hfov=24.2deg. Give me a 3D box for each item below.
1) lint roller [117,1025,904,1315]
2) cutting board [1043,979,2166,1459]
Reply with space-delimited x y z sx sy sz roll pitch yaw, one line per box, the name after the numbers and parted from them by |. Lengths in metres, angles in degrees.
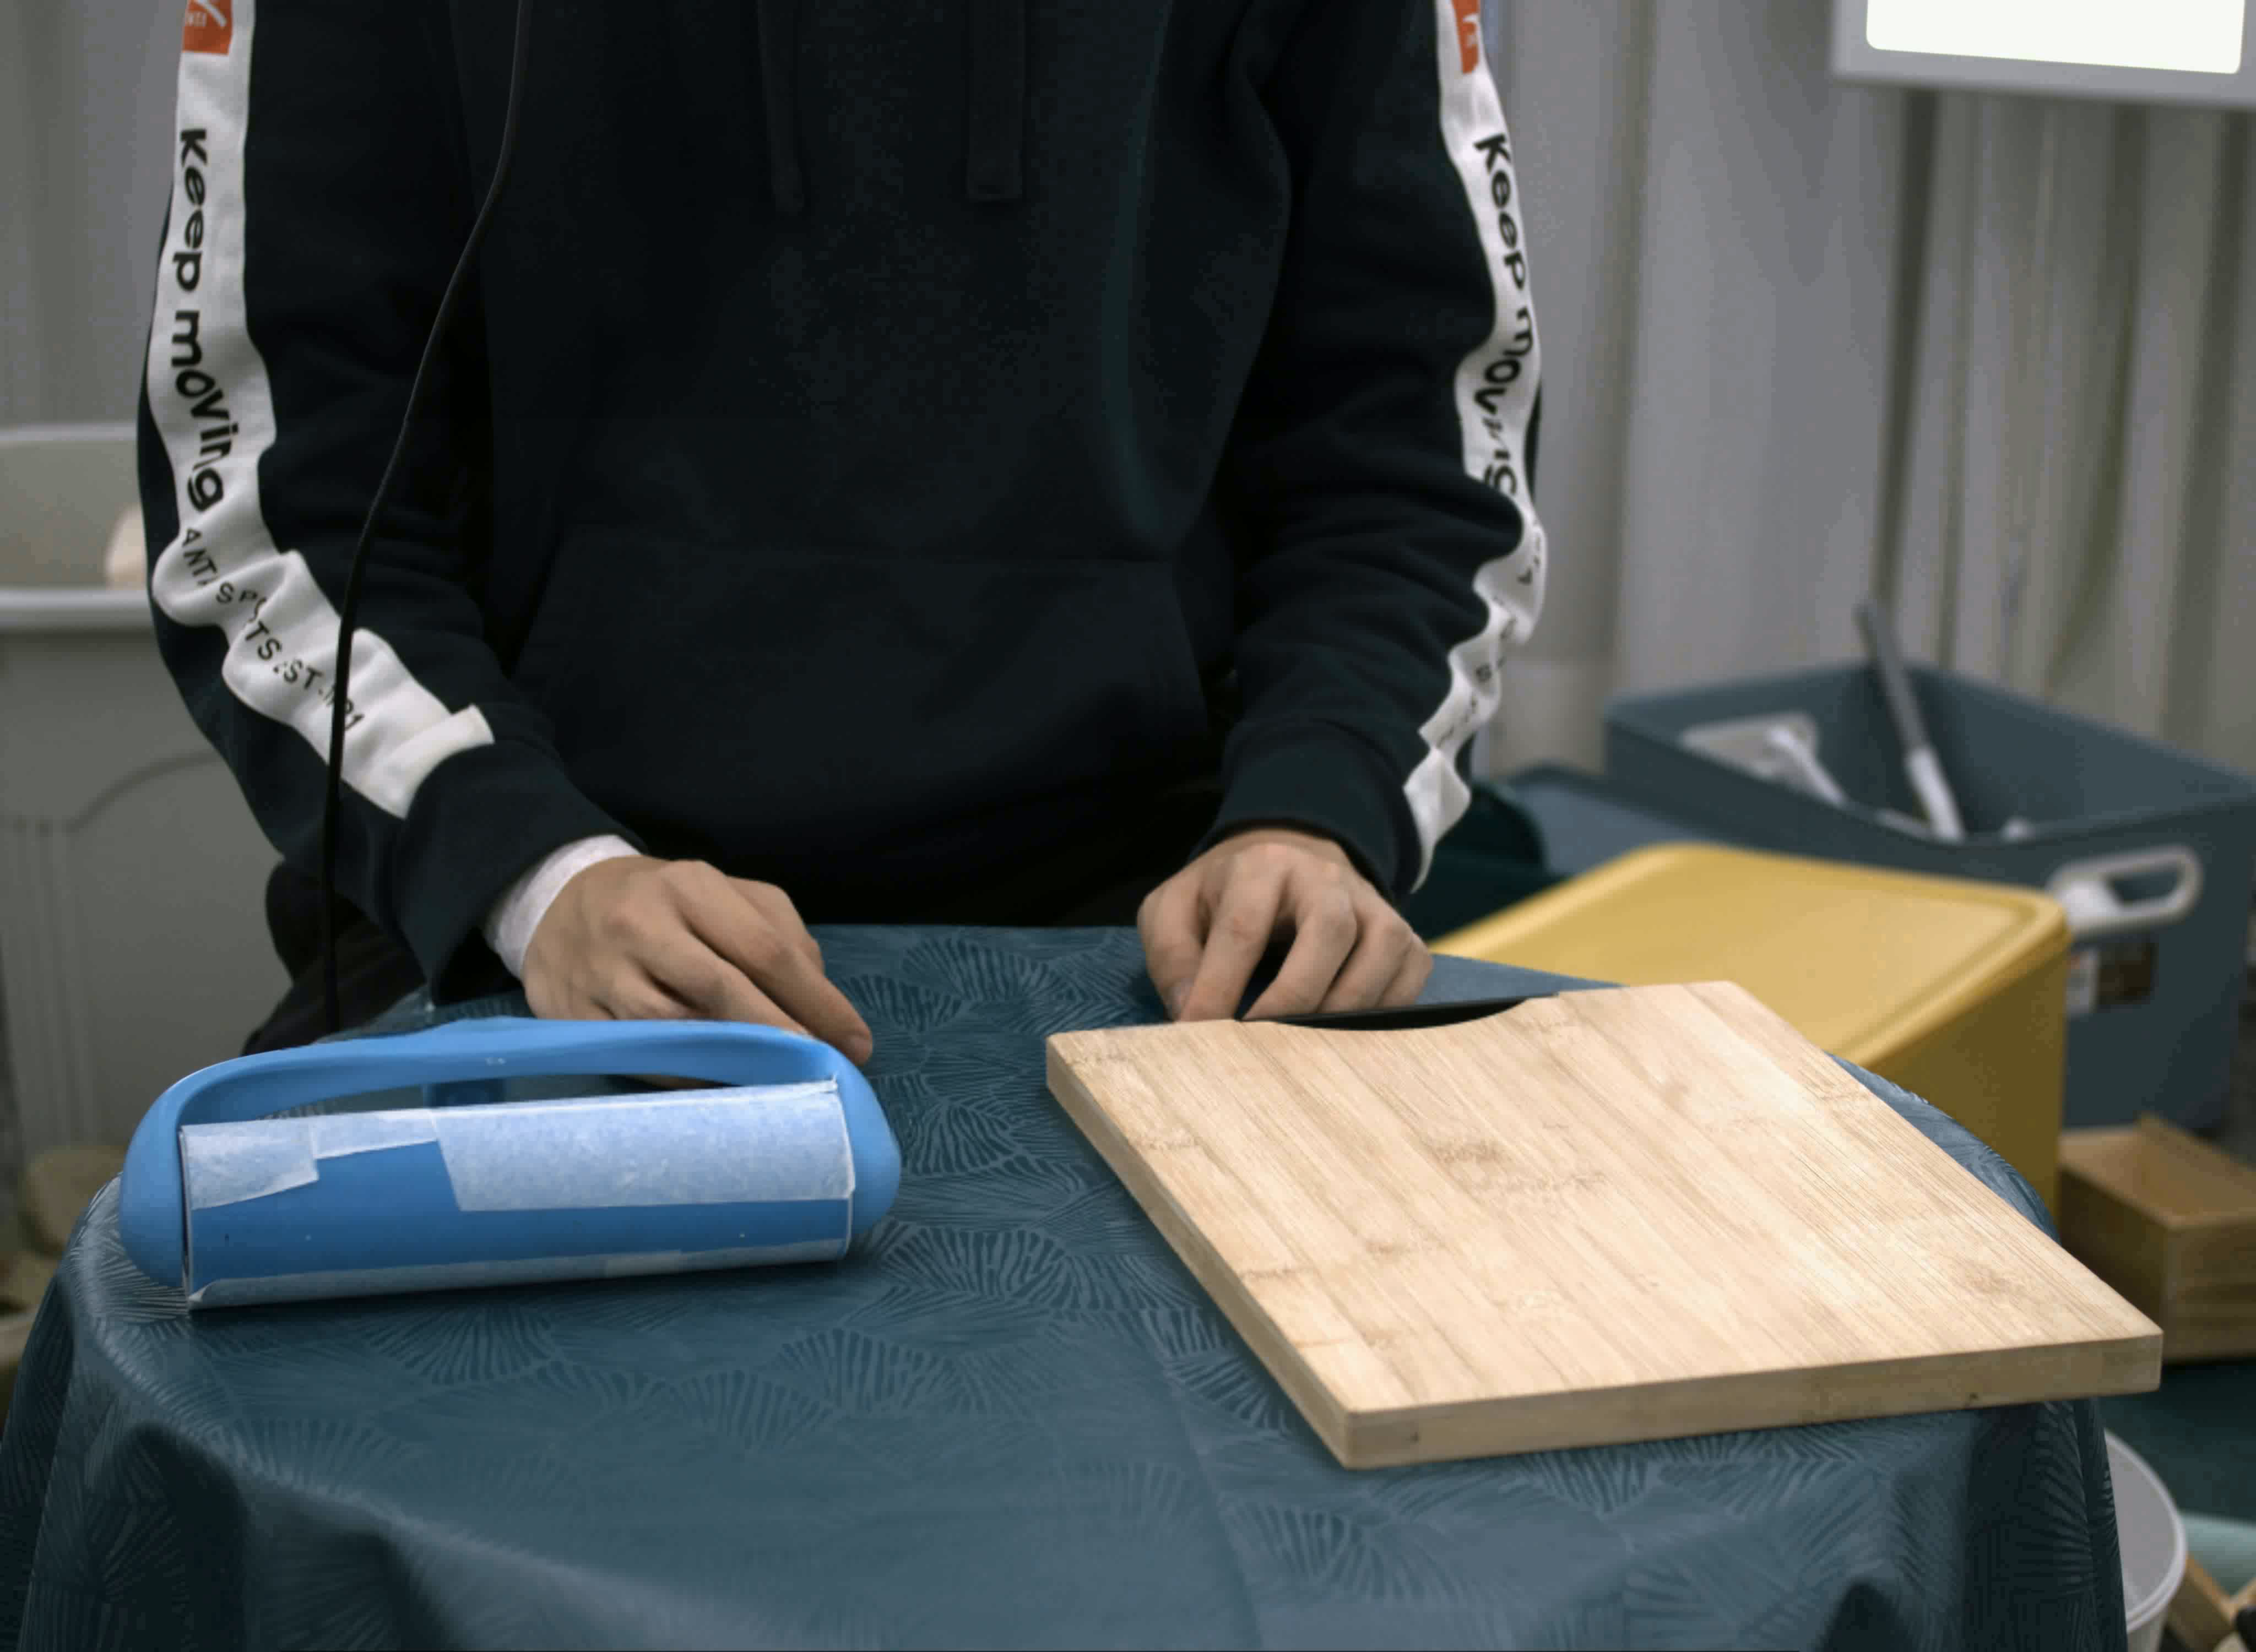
-0.194 0.091 1.585 0.229 0.068 0.178 -5 17 -16 | lint roller
0.130 0.112 1.594 0.251 0.024 0.345 -4 16 -16 | cutting board
